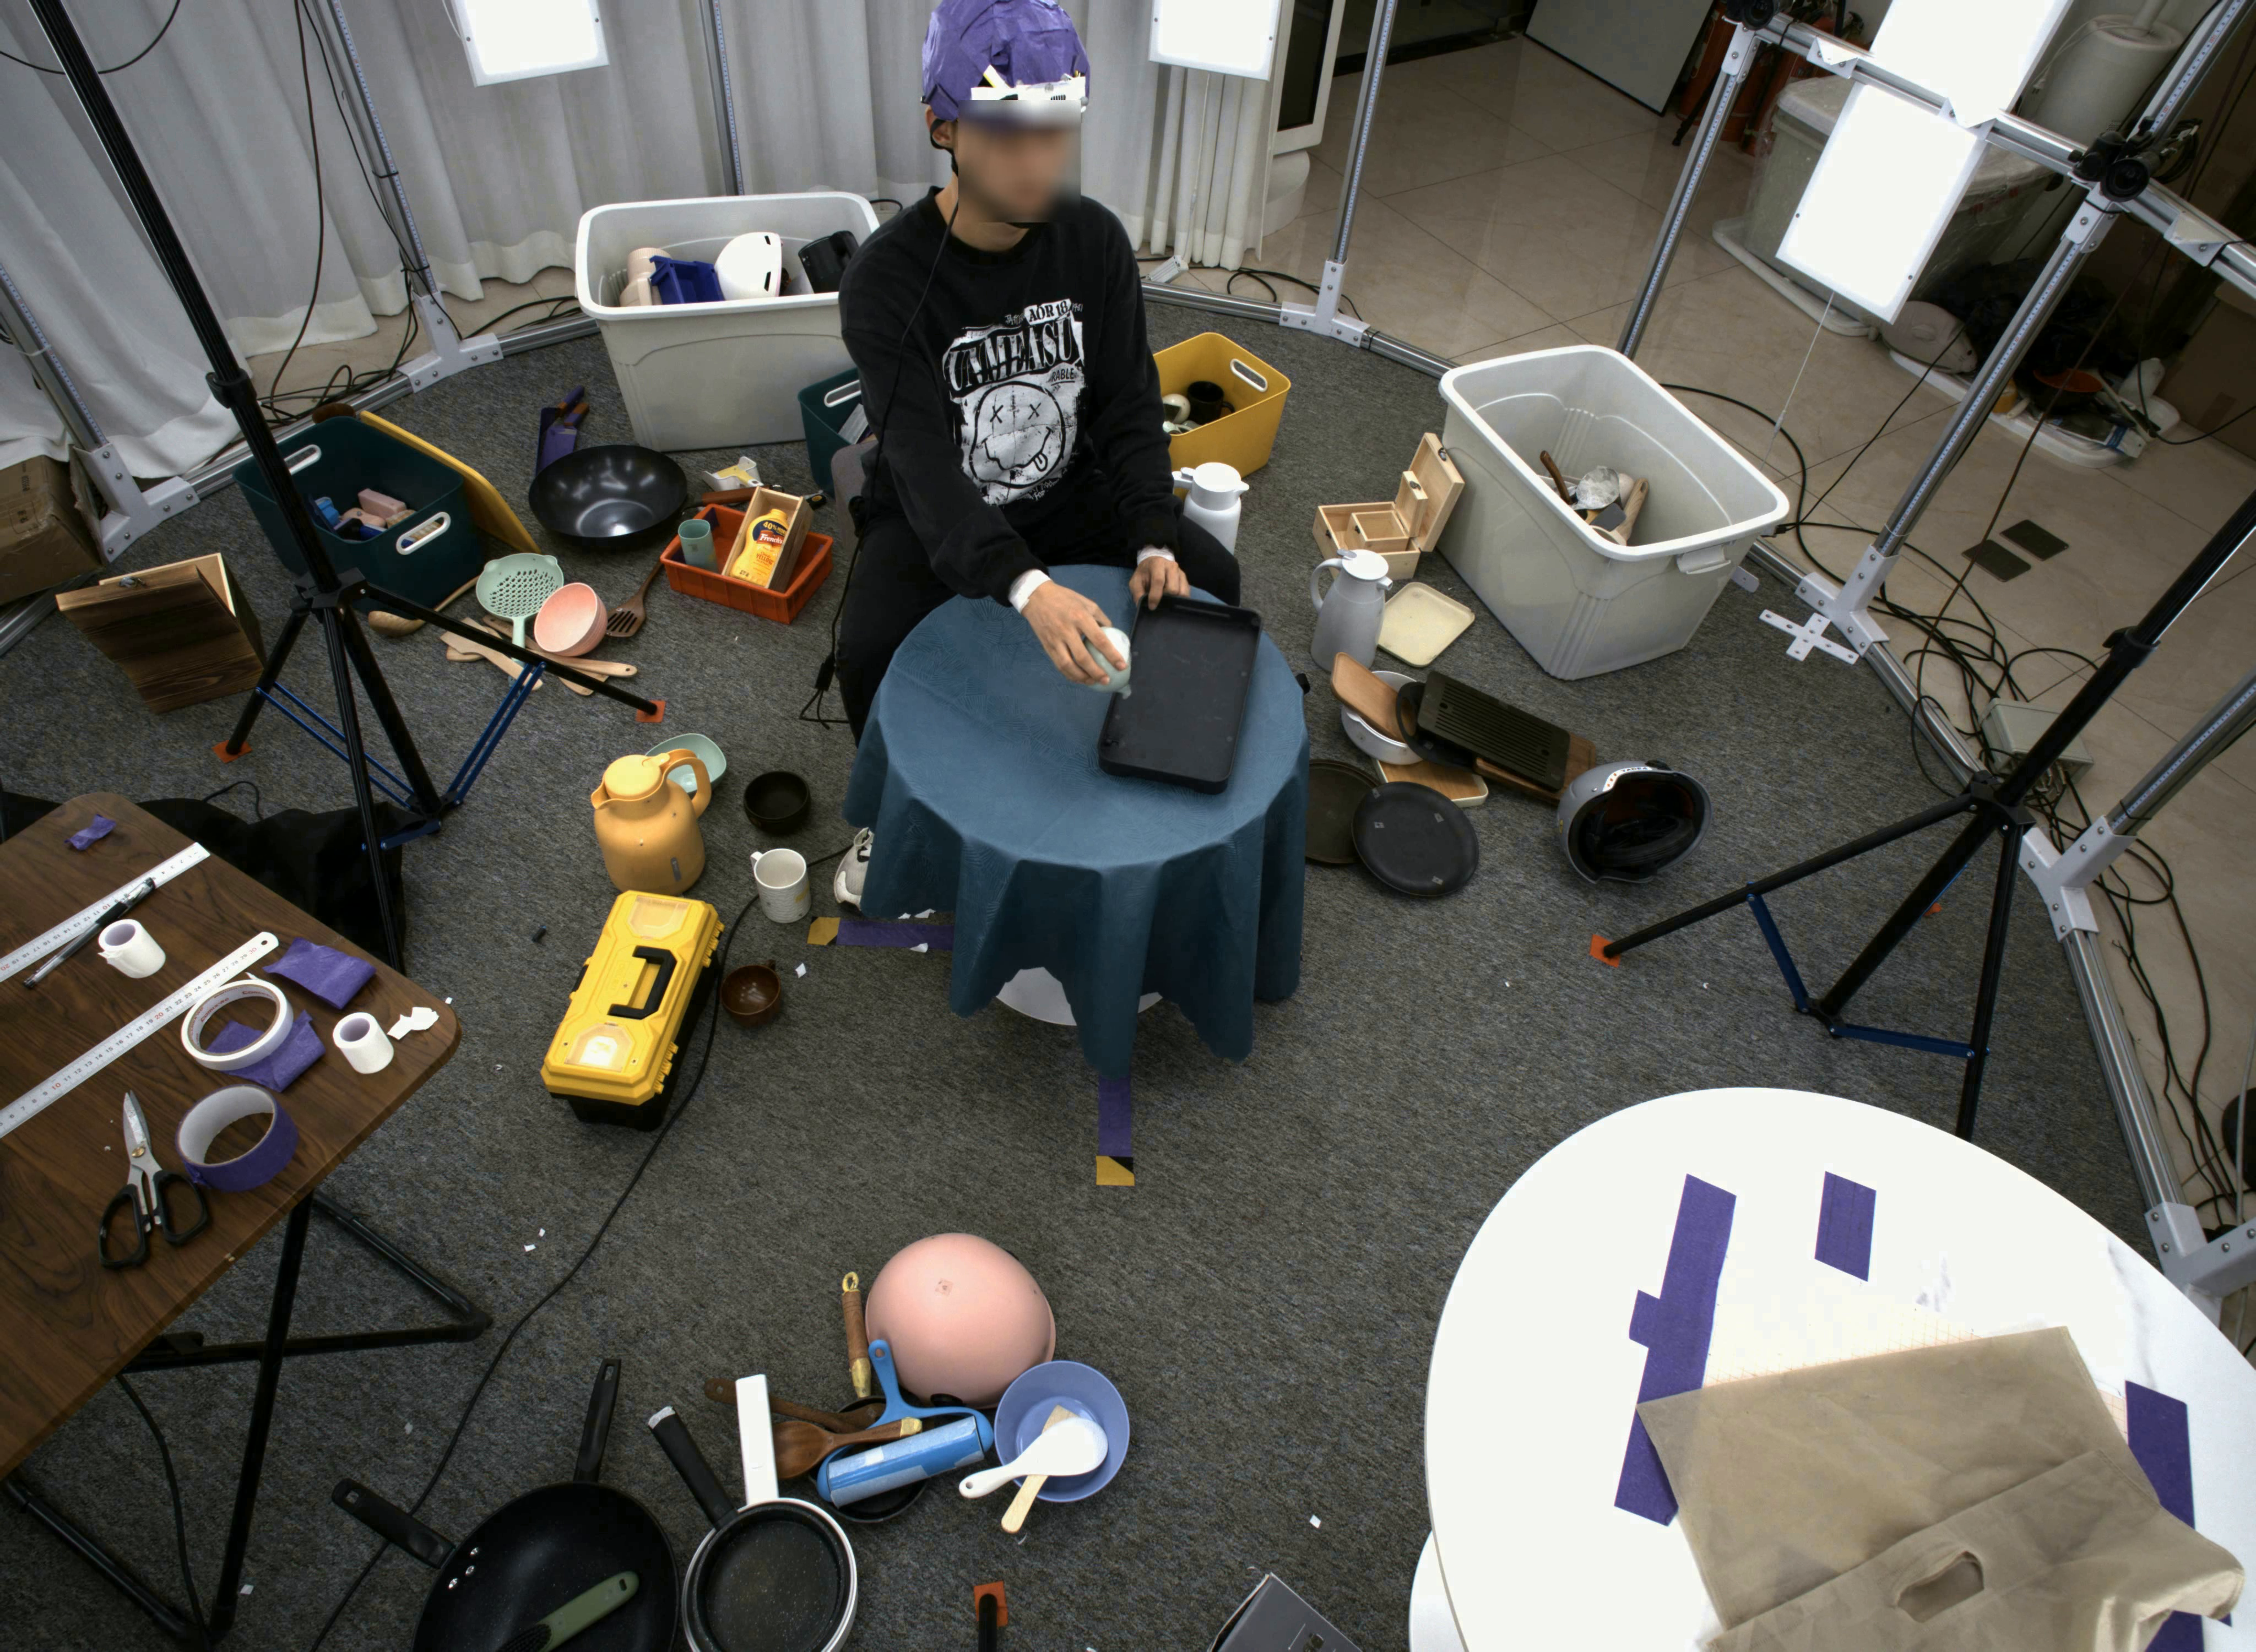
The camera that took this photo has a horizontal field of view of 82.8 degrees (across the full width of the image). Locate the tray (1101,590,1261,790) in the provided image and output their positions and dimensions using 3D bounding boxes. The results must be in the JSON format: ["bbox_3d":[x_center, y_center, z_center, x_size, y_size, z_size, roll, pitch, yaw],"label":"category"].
[{"bbox_3d":[0.078,-0.196,1.800,0.184,0.036,0.325,9,55,5],"label":"tray"}]

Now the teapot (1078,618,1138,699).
[{"bbox_3d":[-0.029,-0.221,1.702,0.074,0.140,0.090,1,49,-6],"label":"teapot"}]
